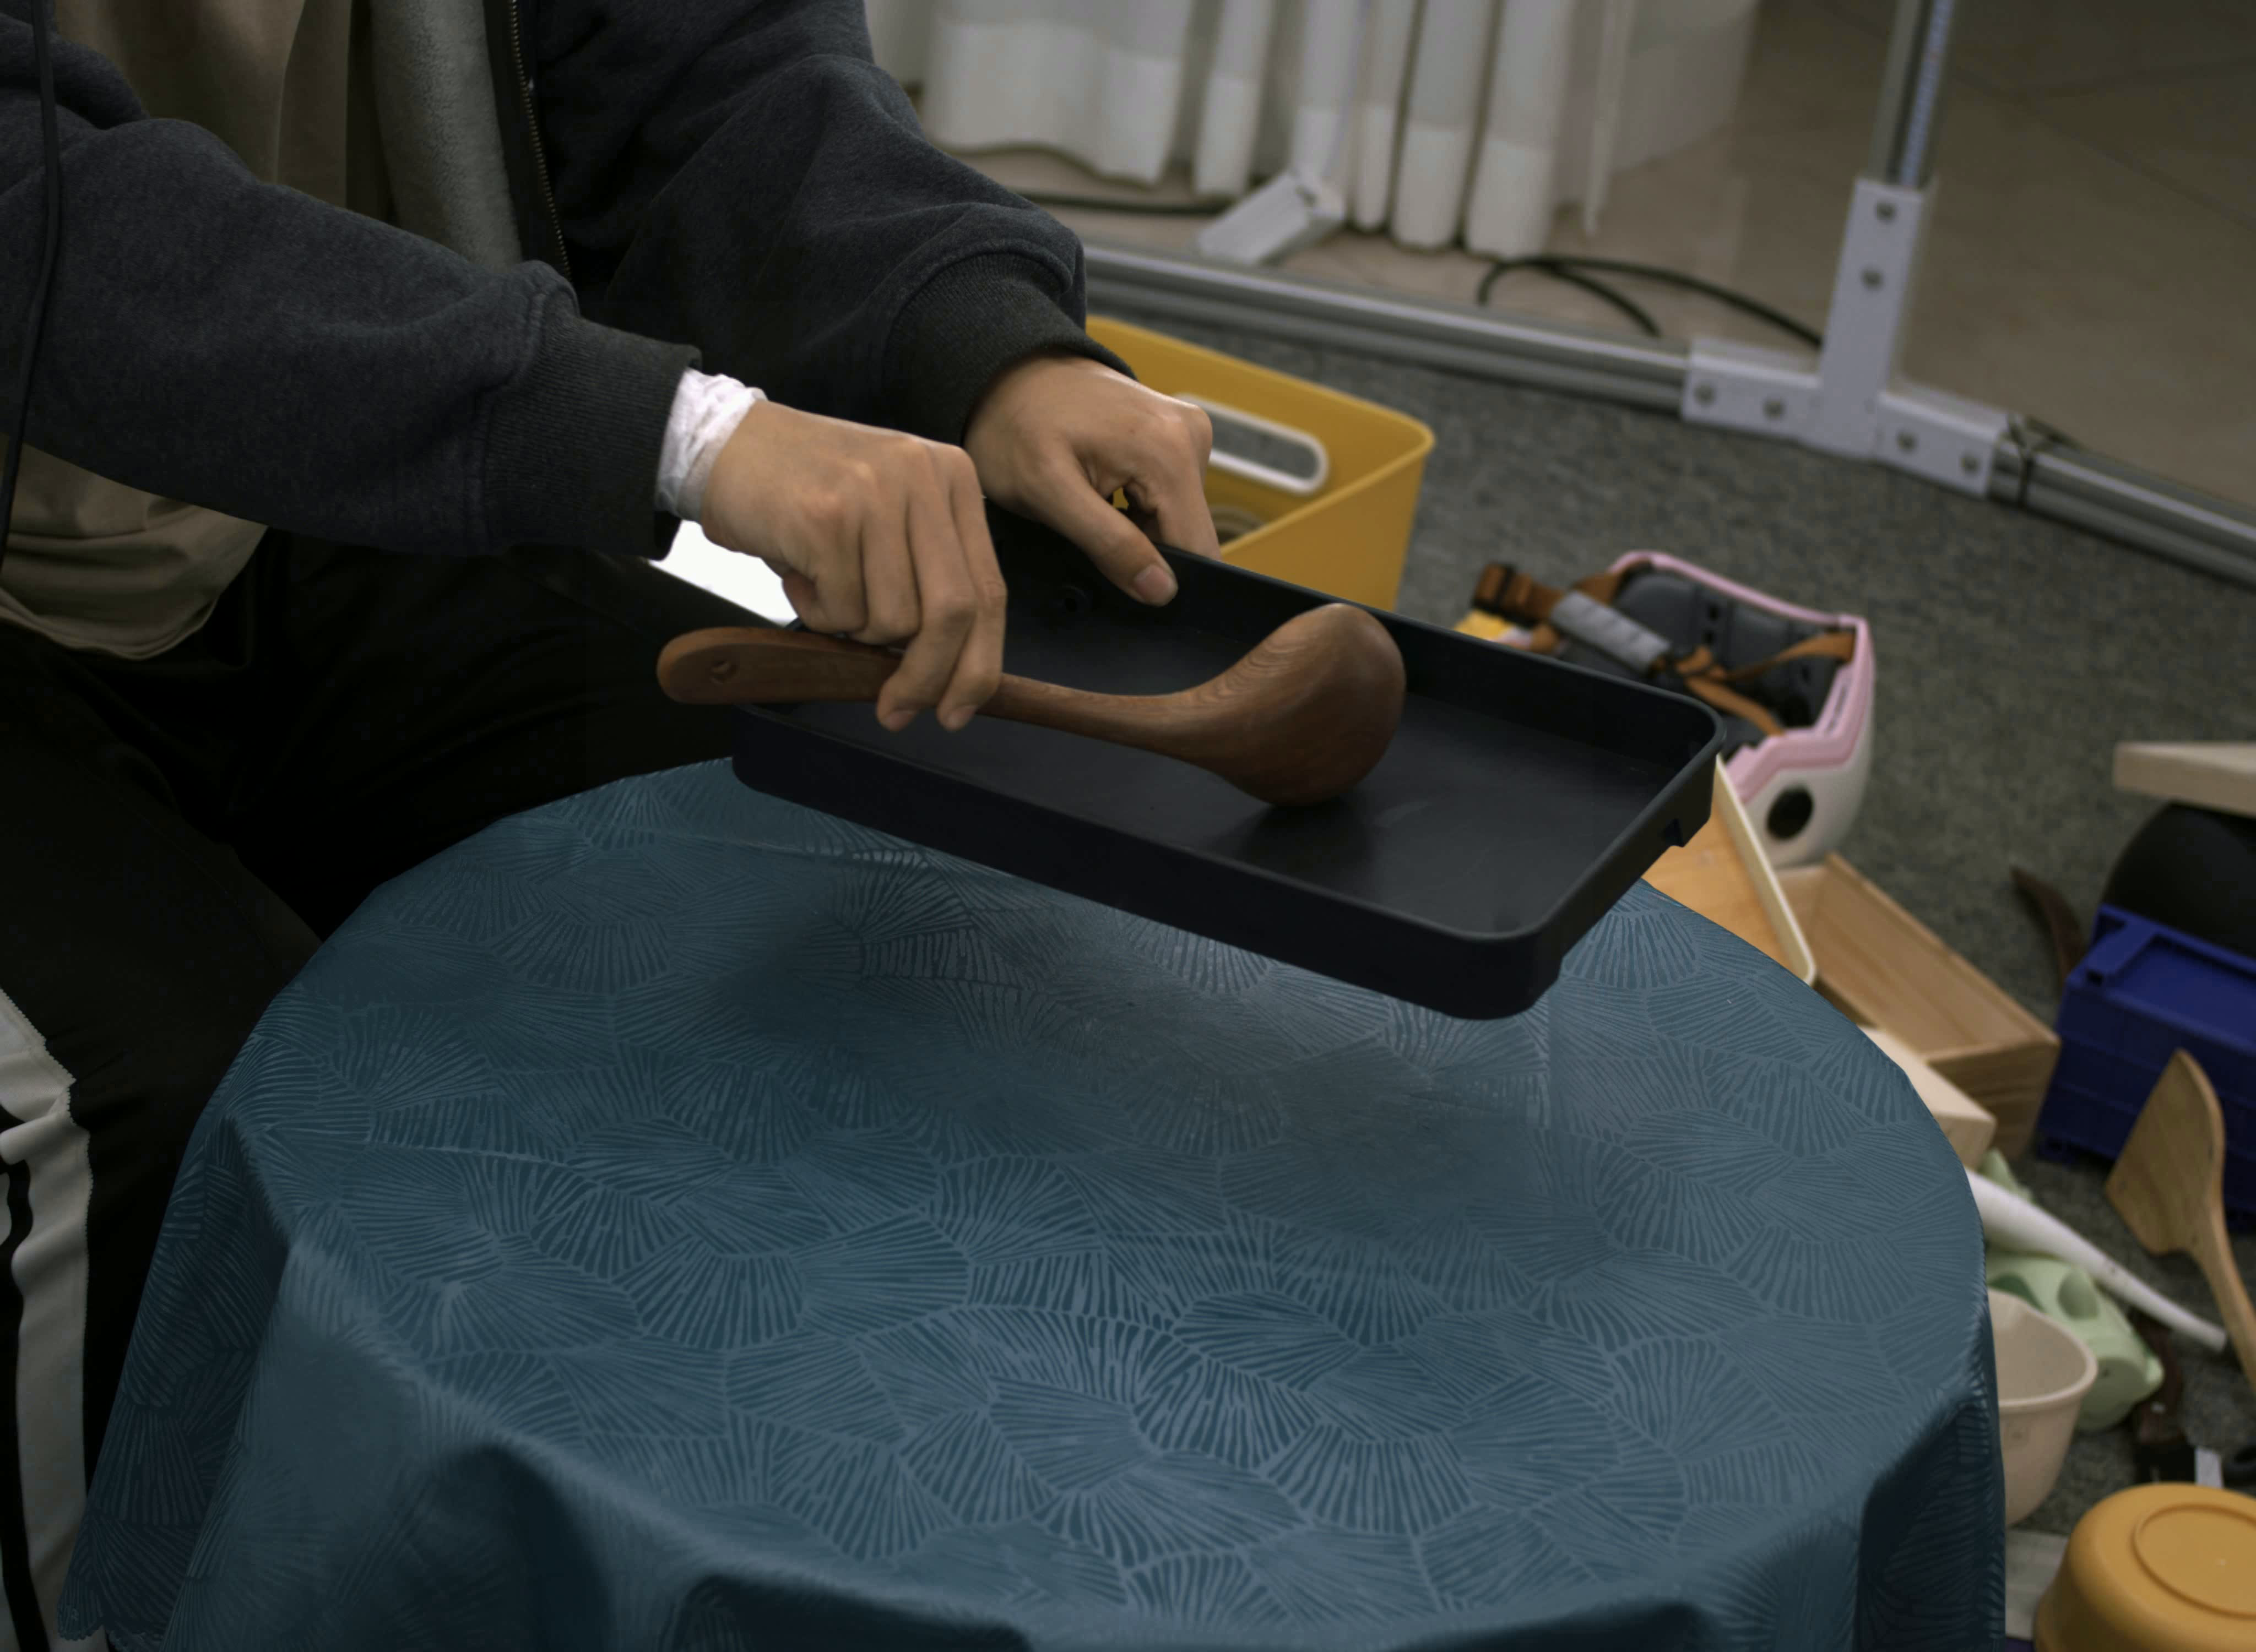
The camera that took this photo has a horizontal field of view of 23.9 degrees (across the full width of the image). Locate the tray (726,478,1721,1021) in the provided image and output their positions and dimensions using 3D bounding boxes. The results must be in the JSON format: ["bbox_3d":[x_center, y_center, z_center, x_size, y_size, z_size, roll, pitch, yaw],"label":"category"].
[{"bbox_3d":[0.031,-0.031,1.853,0.319,0.037,0.184,19,35,24],"label":"tray"}]

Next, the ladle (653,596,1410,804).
[{"bbox_3d":[-0.032,-0.052,1.821,0.259,0.076,0.065,6,27,-4],"label":"ladle"}]
